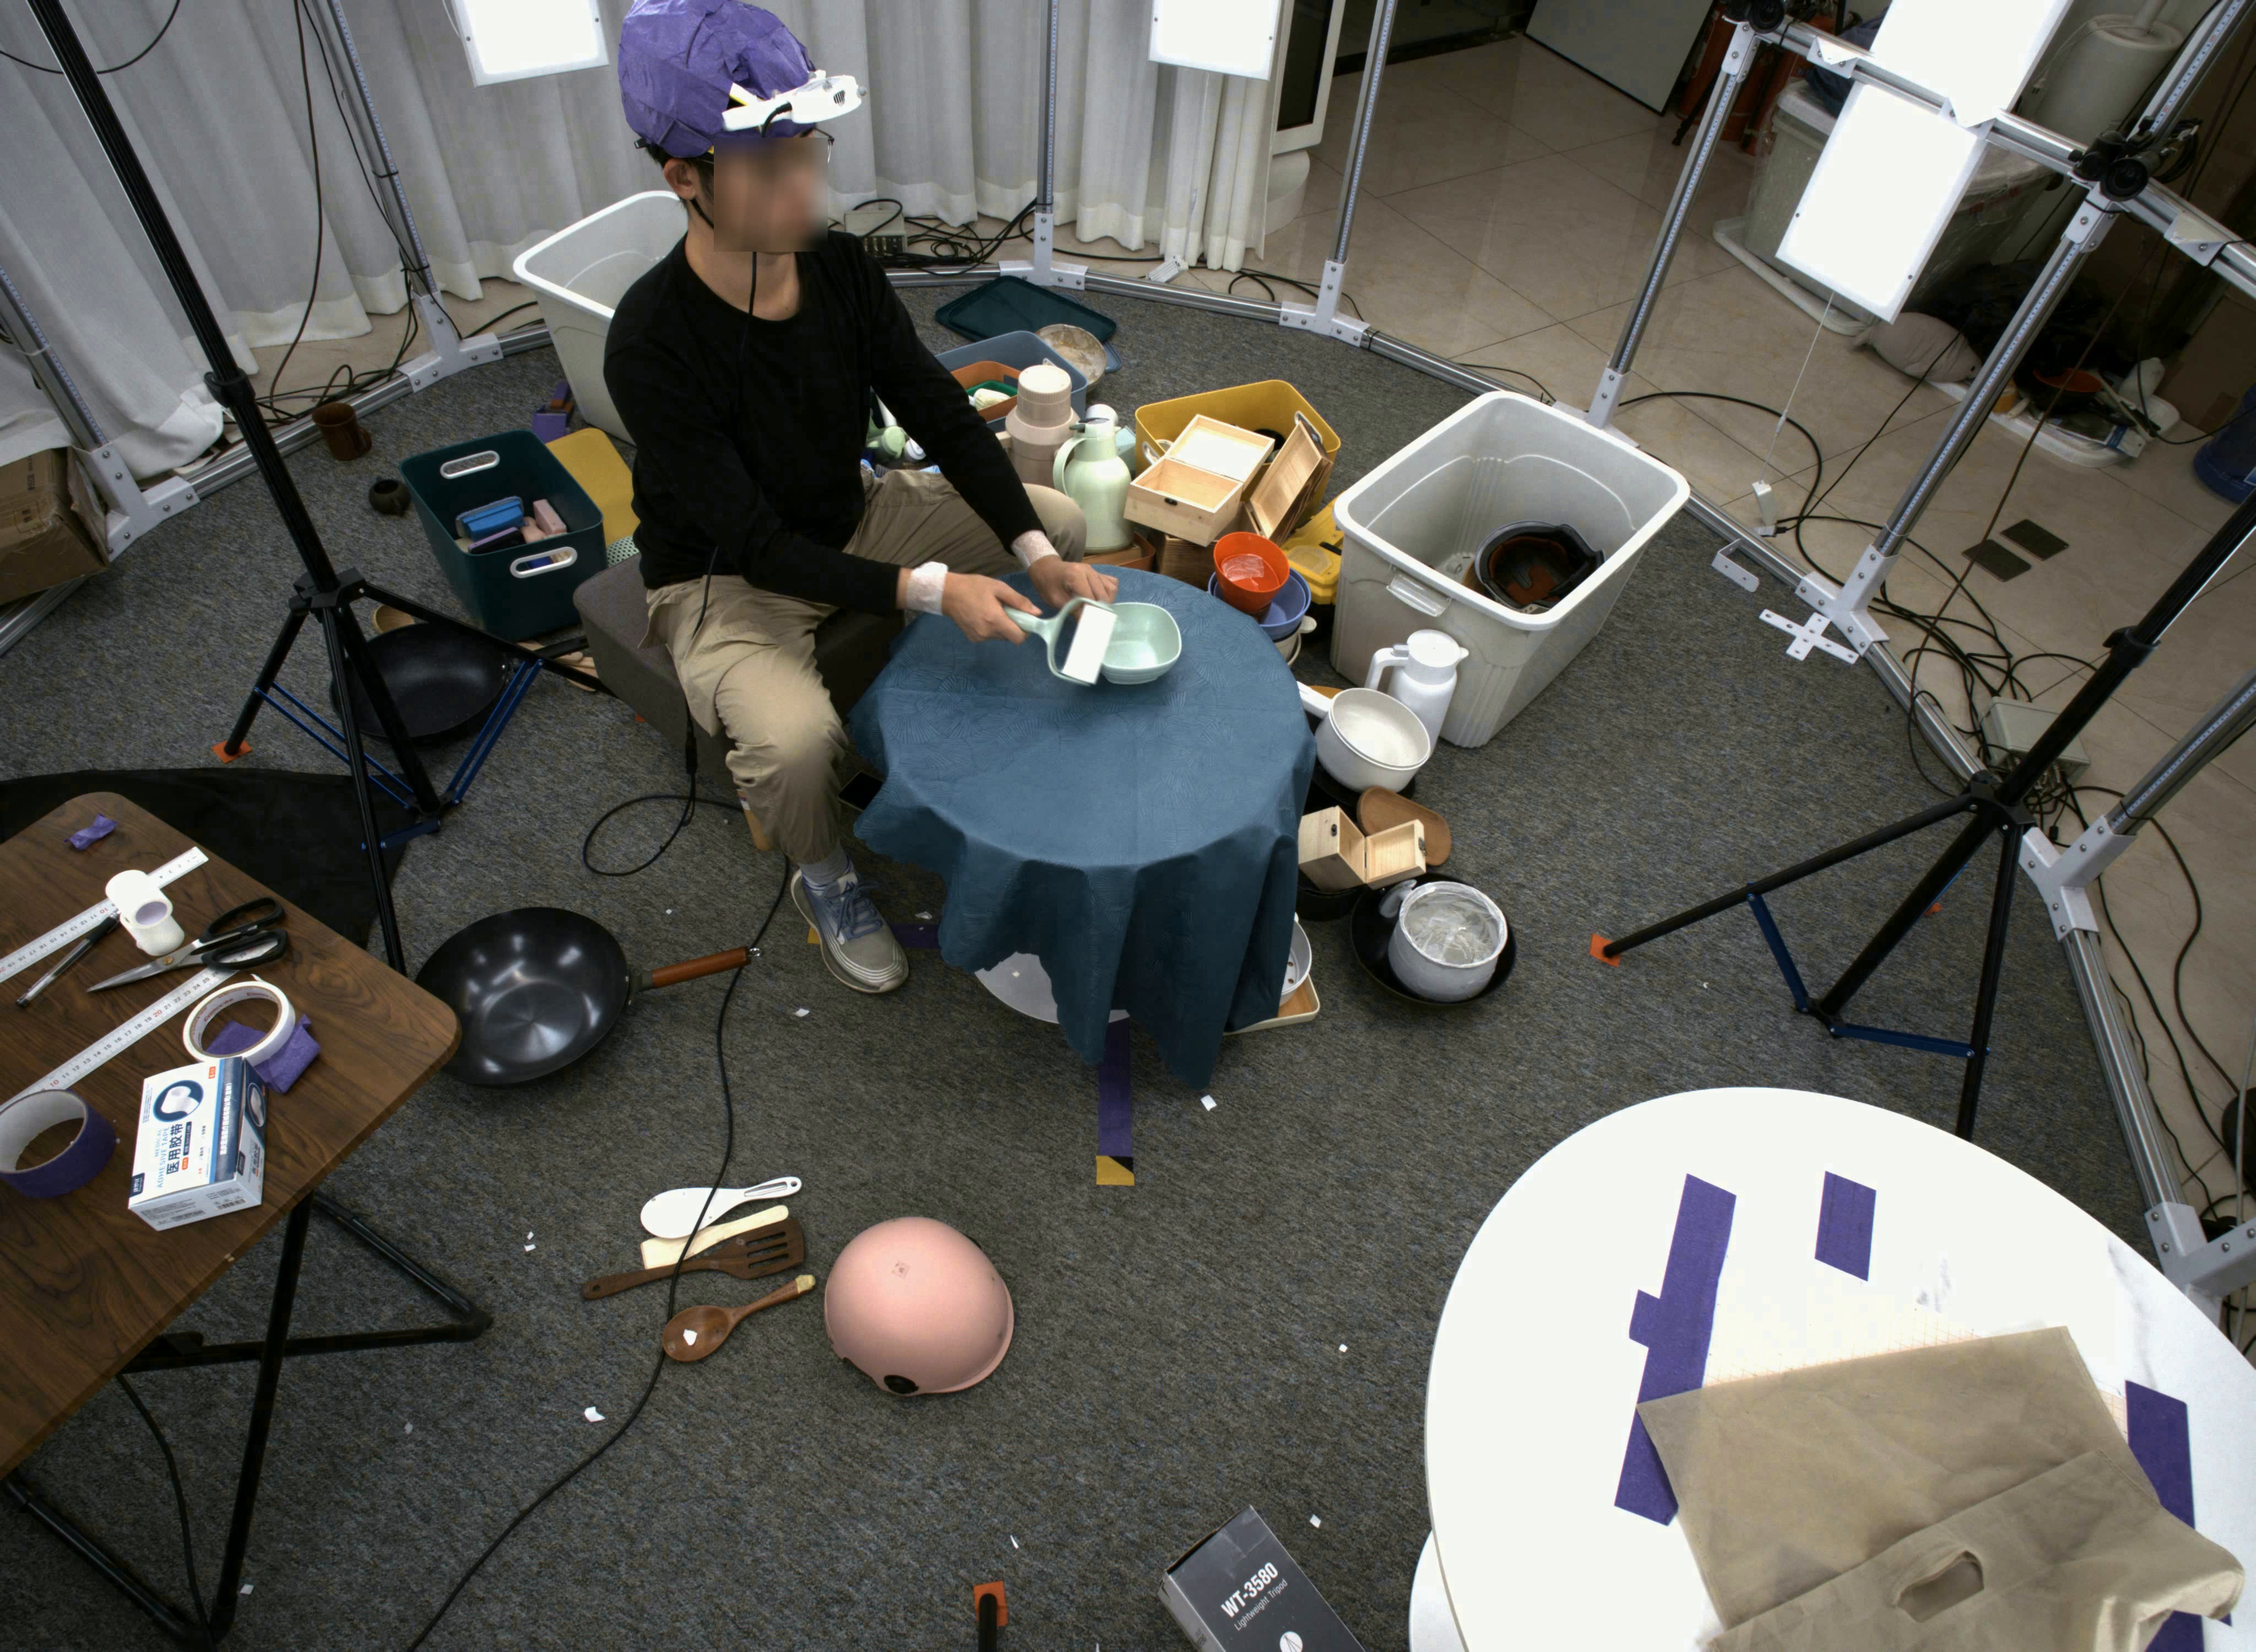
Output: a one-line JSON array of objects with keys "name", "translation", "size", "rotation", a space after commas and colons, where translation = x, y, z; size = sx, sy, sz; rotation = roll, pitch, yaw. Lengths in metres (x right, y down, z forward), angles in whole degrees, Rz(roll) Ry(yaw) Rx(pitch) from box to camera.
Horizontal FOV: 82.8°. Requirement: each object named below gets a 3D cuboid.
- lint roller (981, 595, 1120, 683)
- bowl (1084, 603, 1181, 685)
[{"name": "lint roller", "translation": [-0.116, -0.280, 1.784], "size": [0.198, 0.116, 0.048], "rotation": [20, 7, 10]}, {"name": "bowl", "translation": [0.003, -0.255, 1.854], "size": [0.151, 0.057, 0.155], "rotation": [3, 49, -4]}]
